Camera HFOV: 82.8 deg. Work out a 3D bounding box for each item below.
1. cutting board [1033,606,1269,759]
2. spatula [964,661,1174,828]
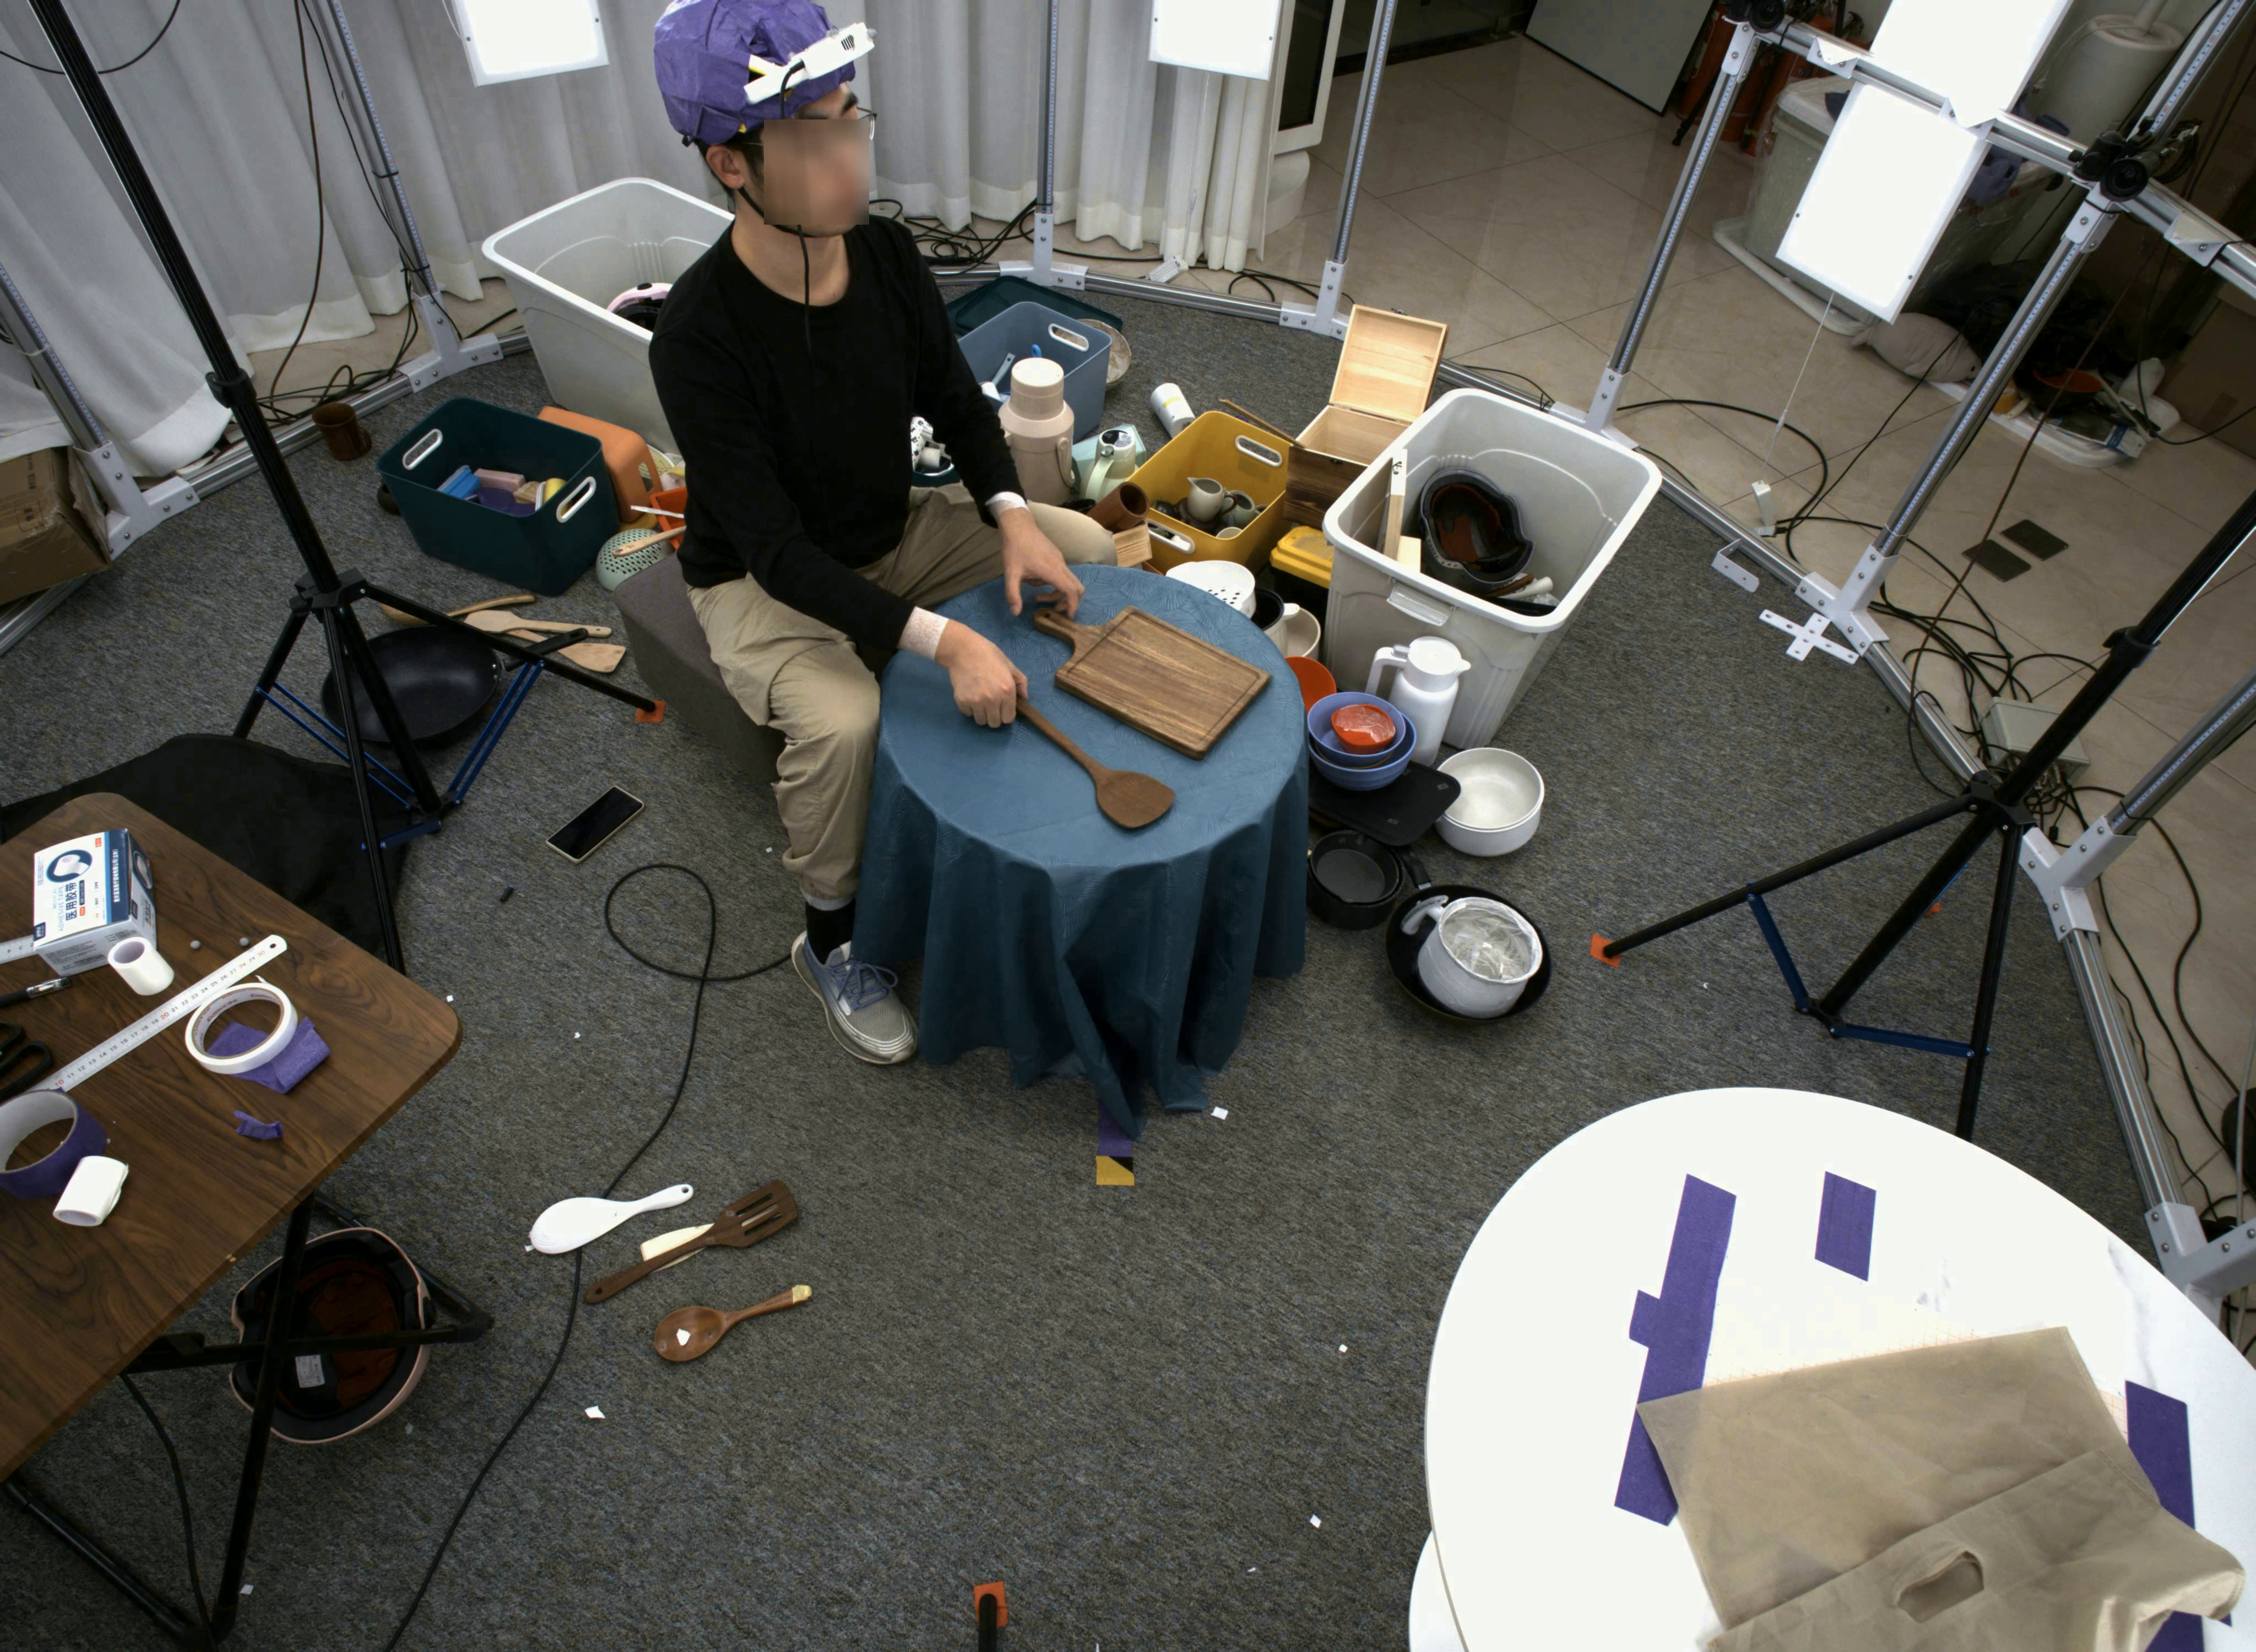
[{"bbox_3d":[0.009,-0.235,1.861,0.355,0.022,0.204,29,53,20],"label":"cutting board"},{"bbox_3d":[-0.097,-0.123,1.757,0.097,0.015,0.392,-34,60,-29],"label":"spatula"}]
